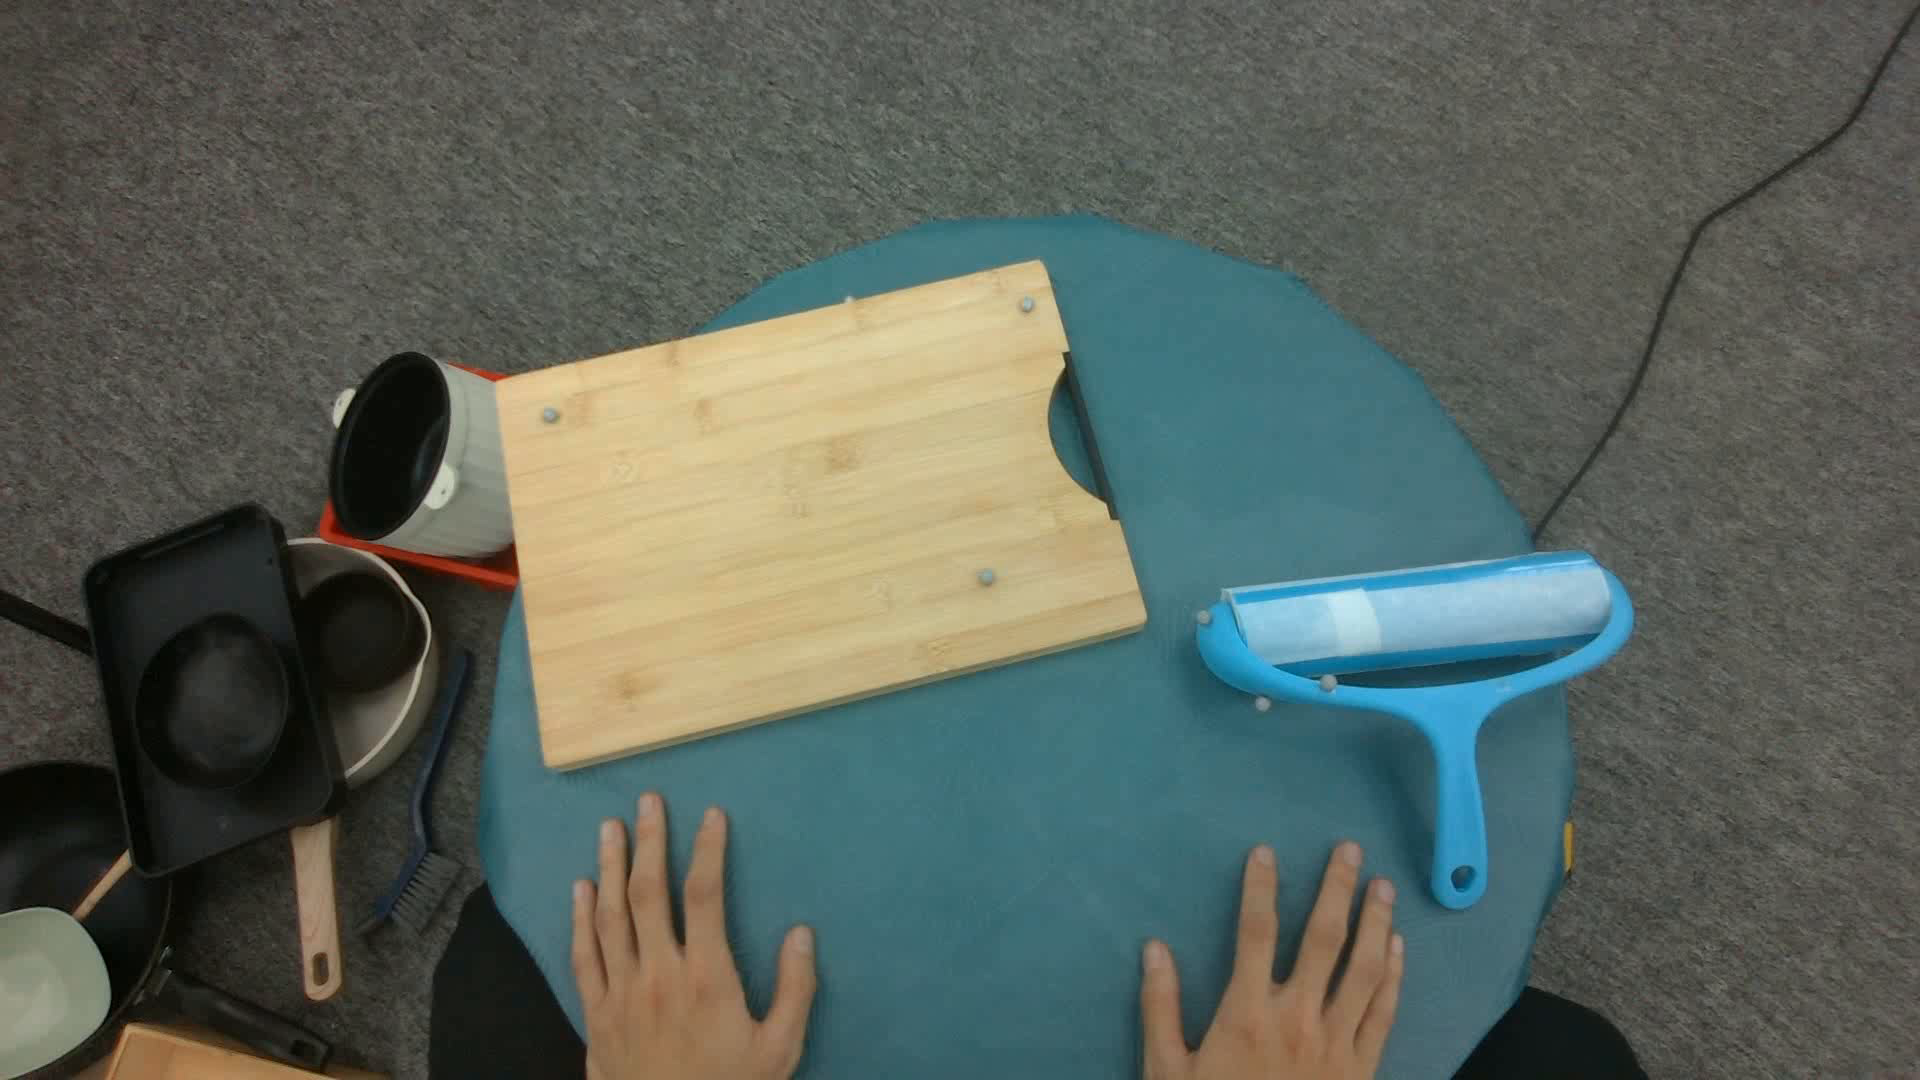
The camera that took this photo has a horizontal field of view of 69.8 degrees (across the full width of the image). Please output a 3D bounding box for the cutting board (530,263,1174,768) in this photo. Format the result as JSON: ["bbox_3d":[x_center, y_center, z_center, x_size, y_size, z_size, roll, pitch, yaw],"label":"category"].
[{"bbox_3d":[-0.075,-0.021,0.817,0.349,0.023,0.251,-14,71,-2],"label":"cutting board"}]

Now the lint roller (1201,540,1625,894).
[{"bbox_3d":[0.257,0.094,0.738,0.229,0.068,0.181,-9,69,-2],"label":"lint roller"}]
